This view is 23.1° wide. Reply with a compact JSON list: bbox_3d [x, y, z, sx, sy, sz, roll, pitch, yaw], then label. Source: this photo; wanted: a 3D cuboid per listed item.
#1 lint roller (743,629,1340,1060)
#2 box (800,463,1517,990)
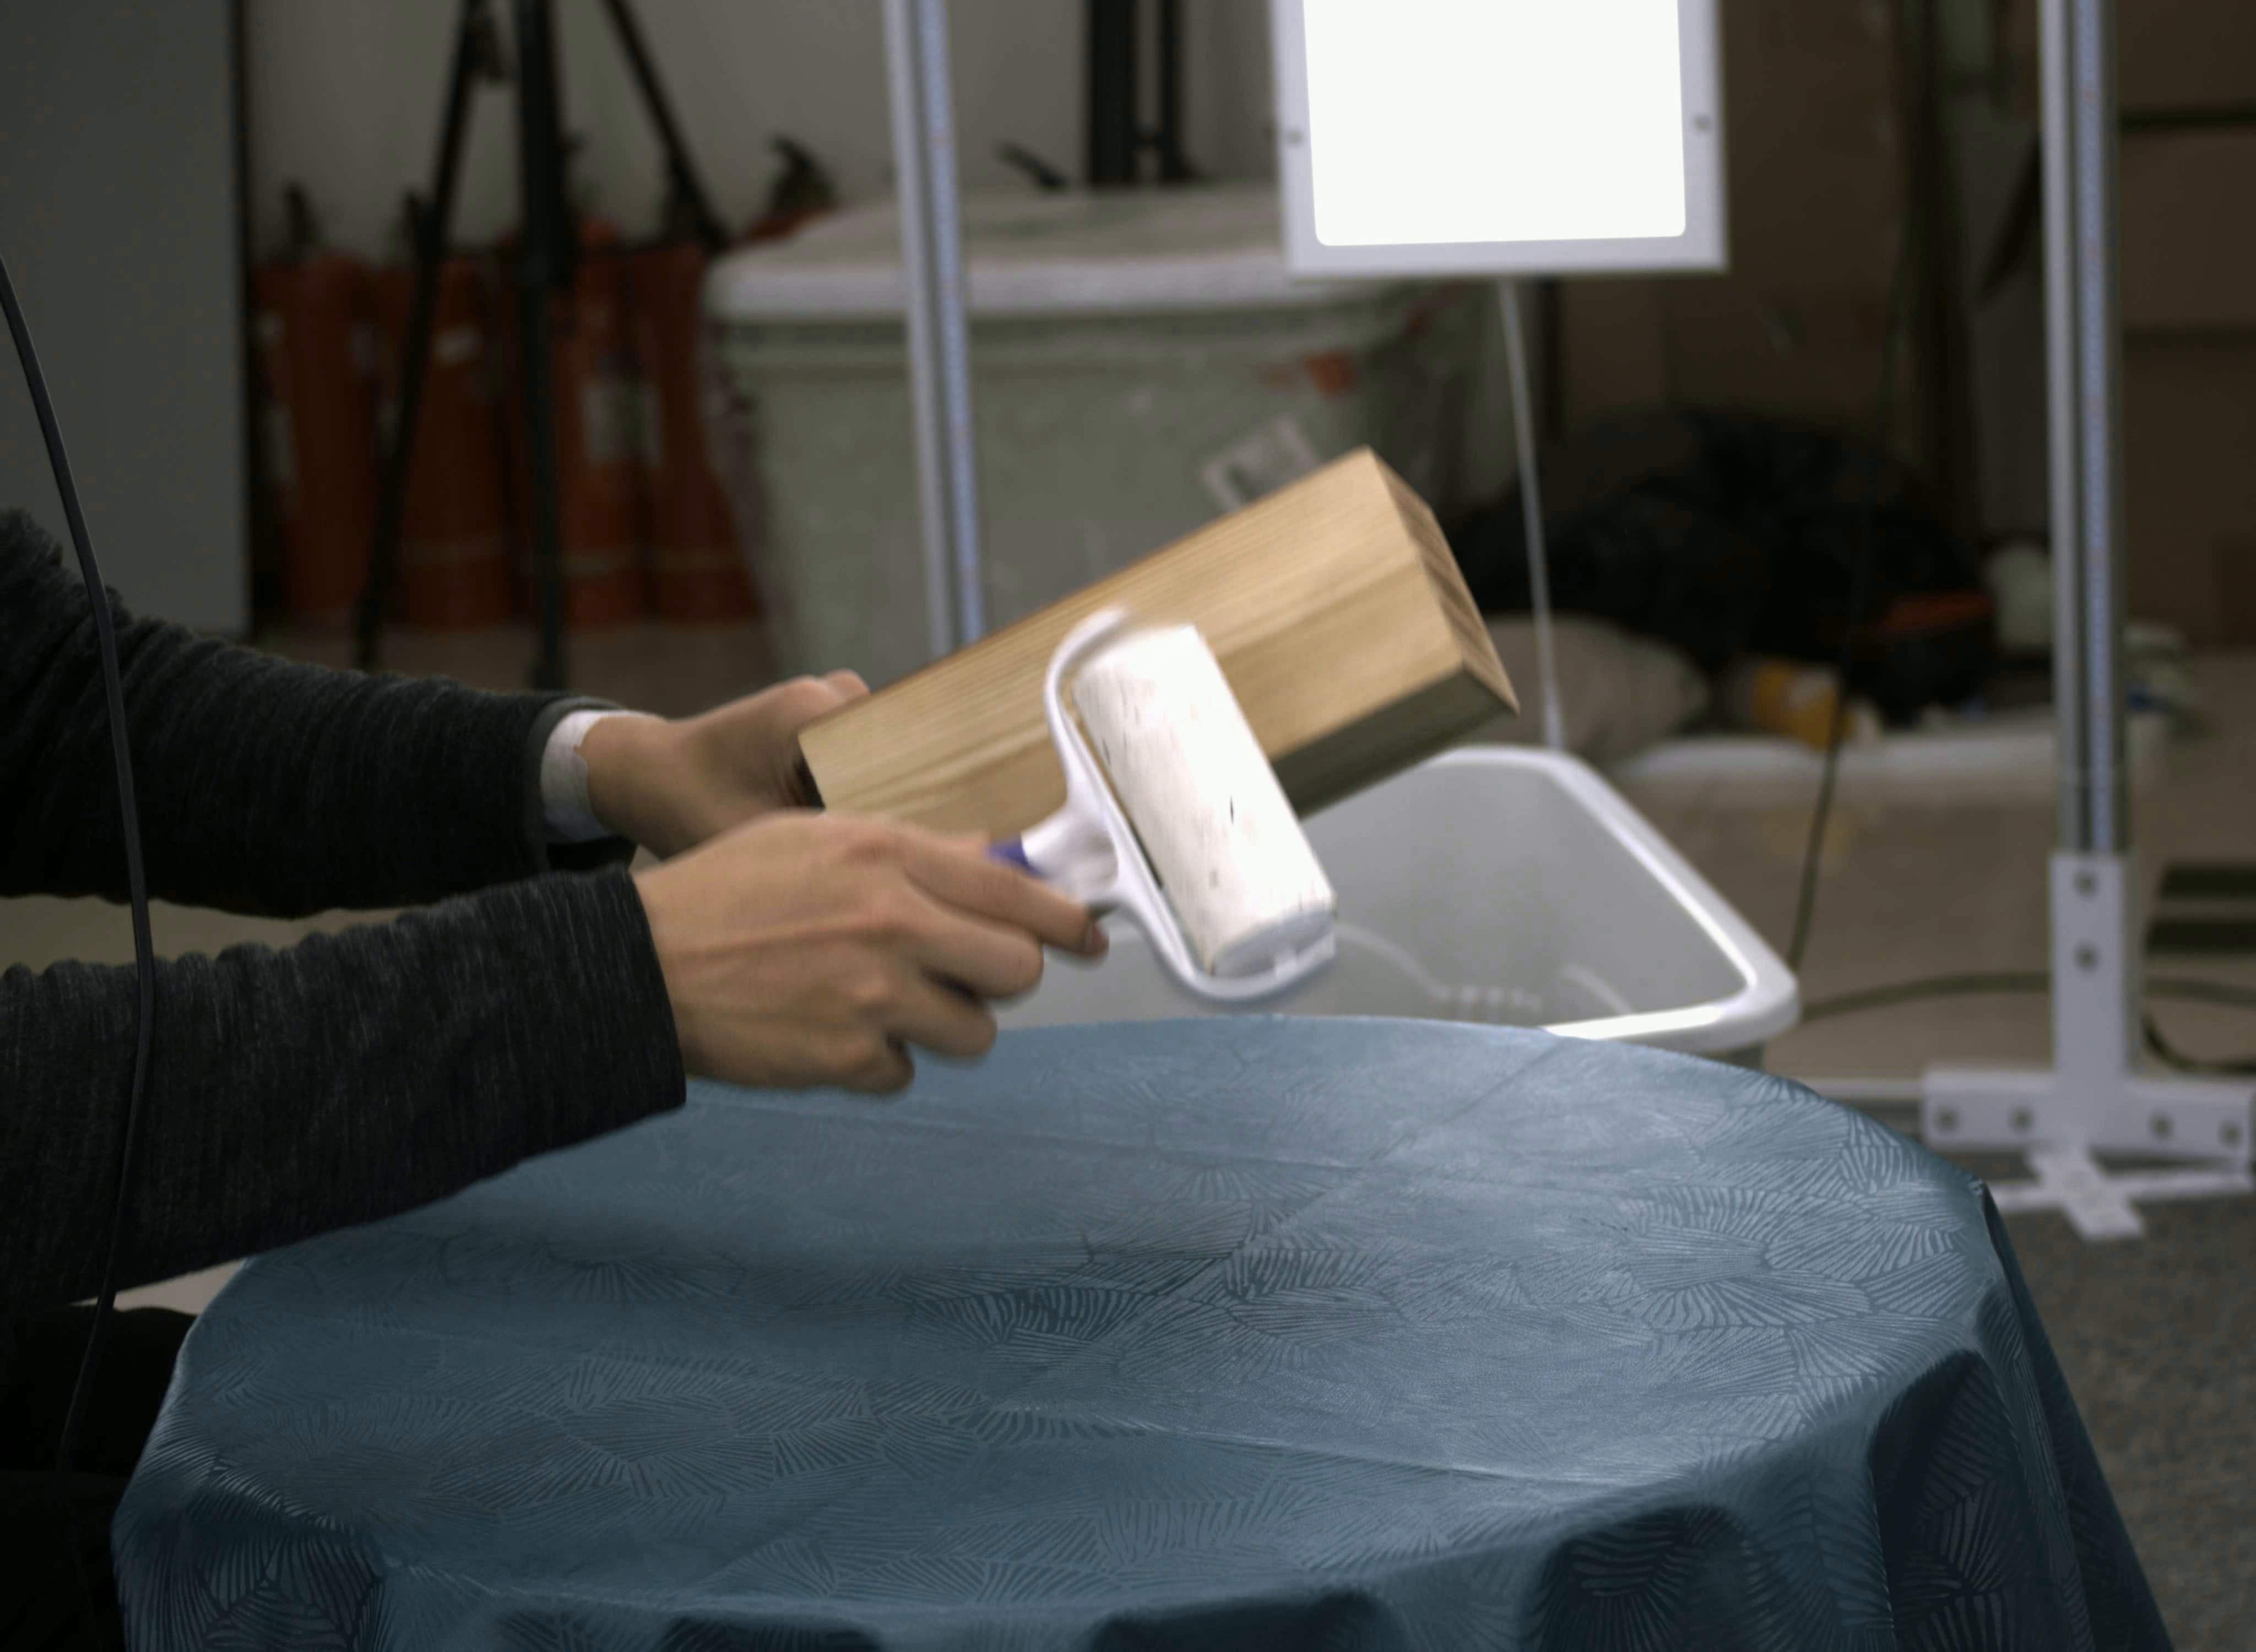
[{"bbox_3d":[-0.035,0.023,1.694,0.178,0.133,0.050,-21,-16,-12],"label":"lint roller"},{"bbox_3d":[0.012,-0.030,1.822,0.213,0.080,0.106,-26,-12,11],"label":"box"}]
